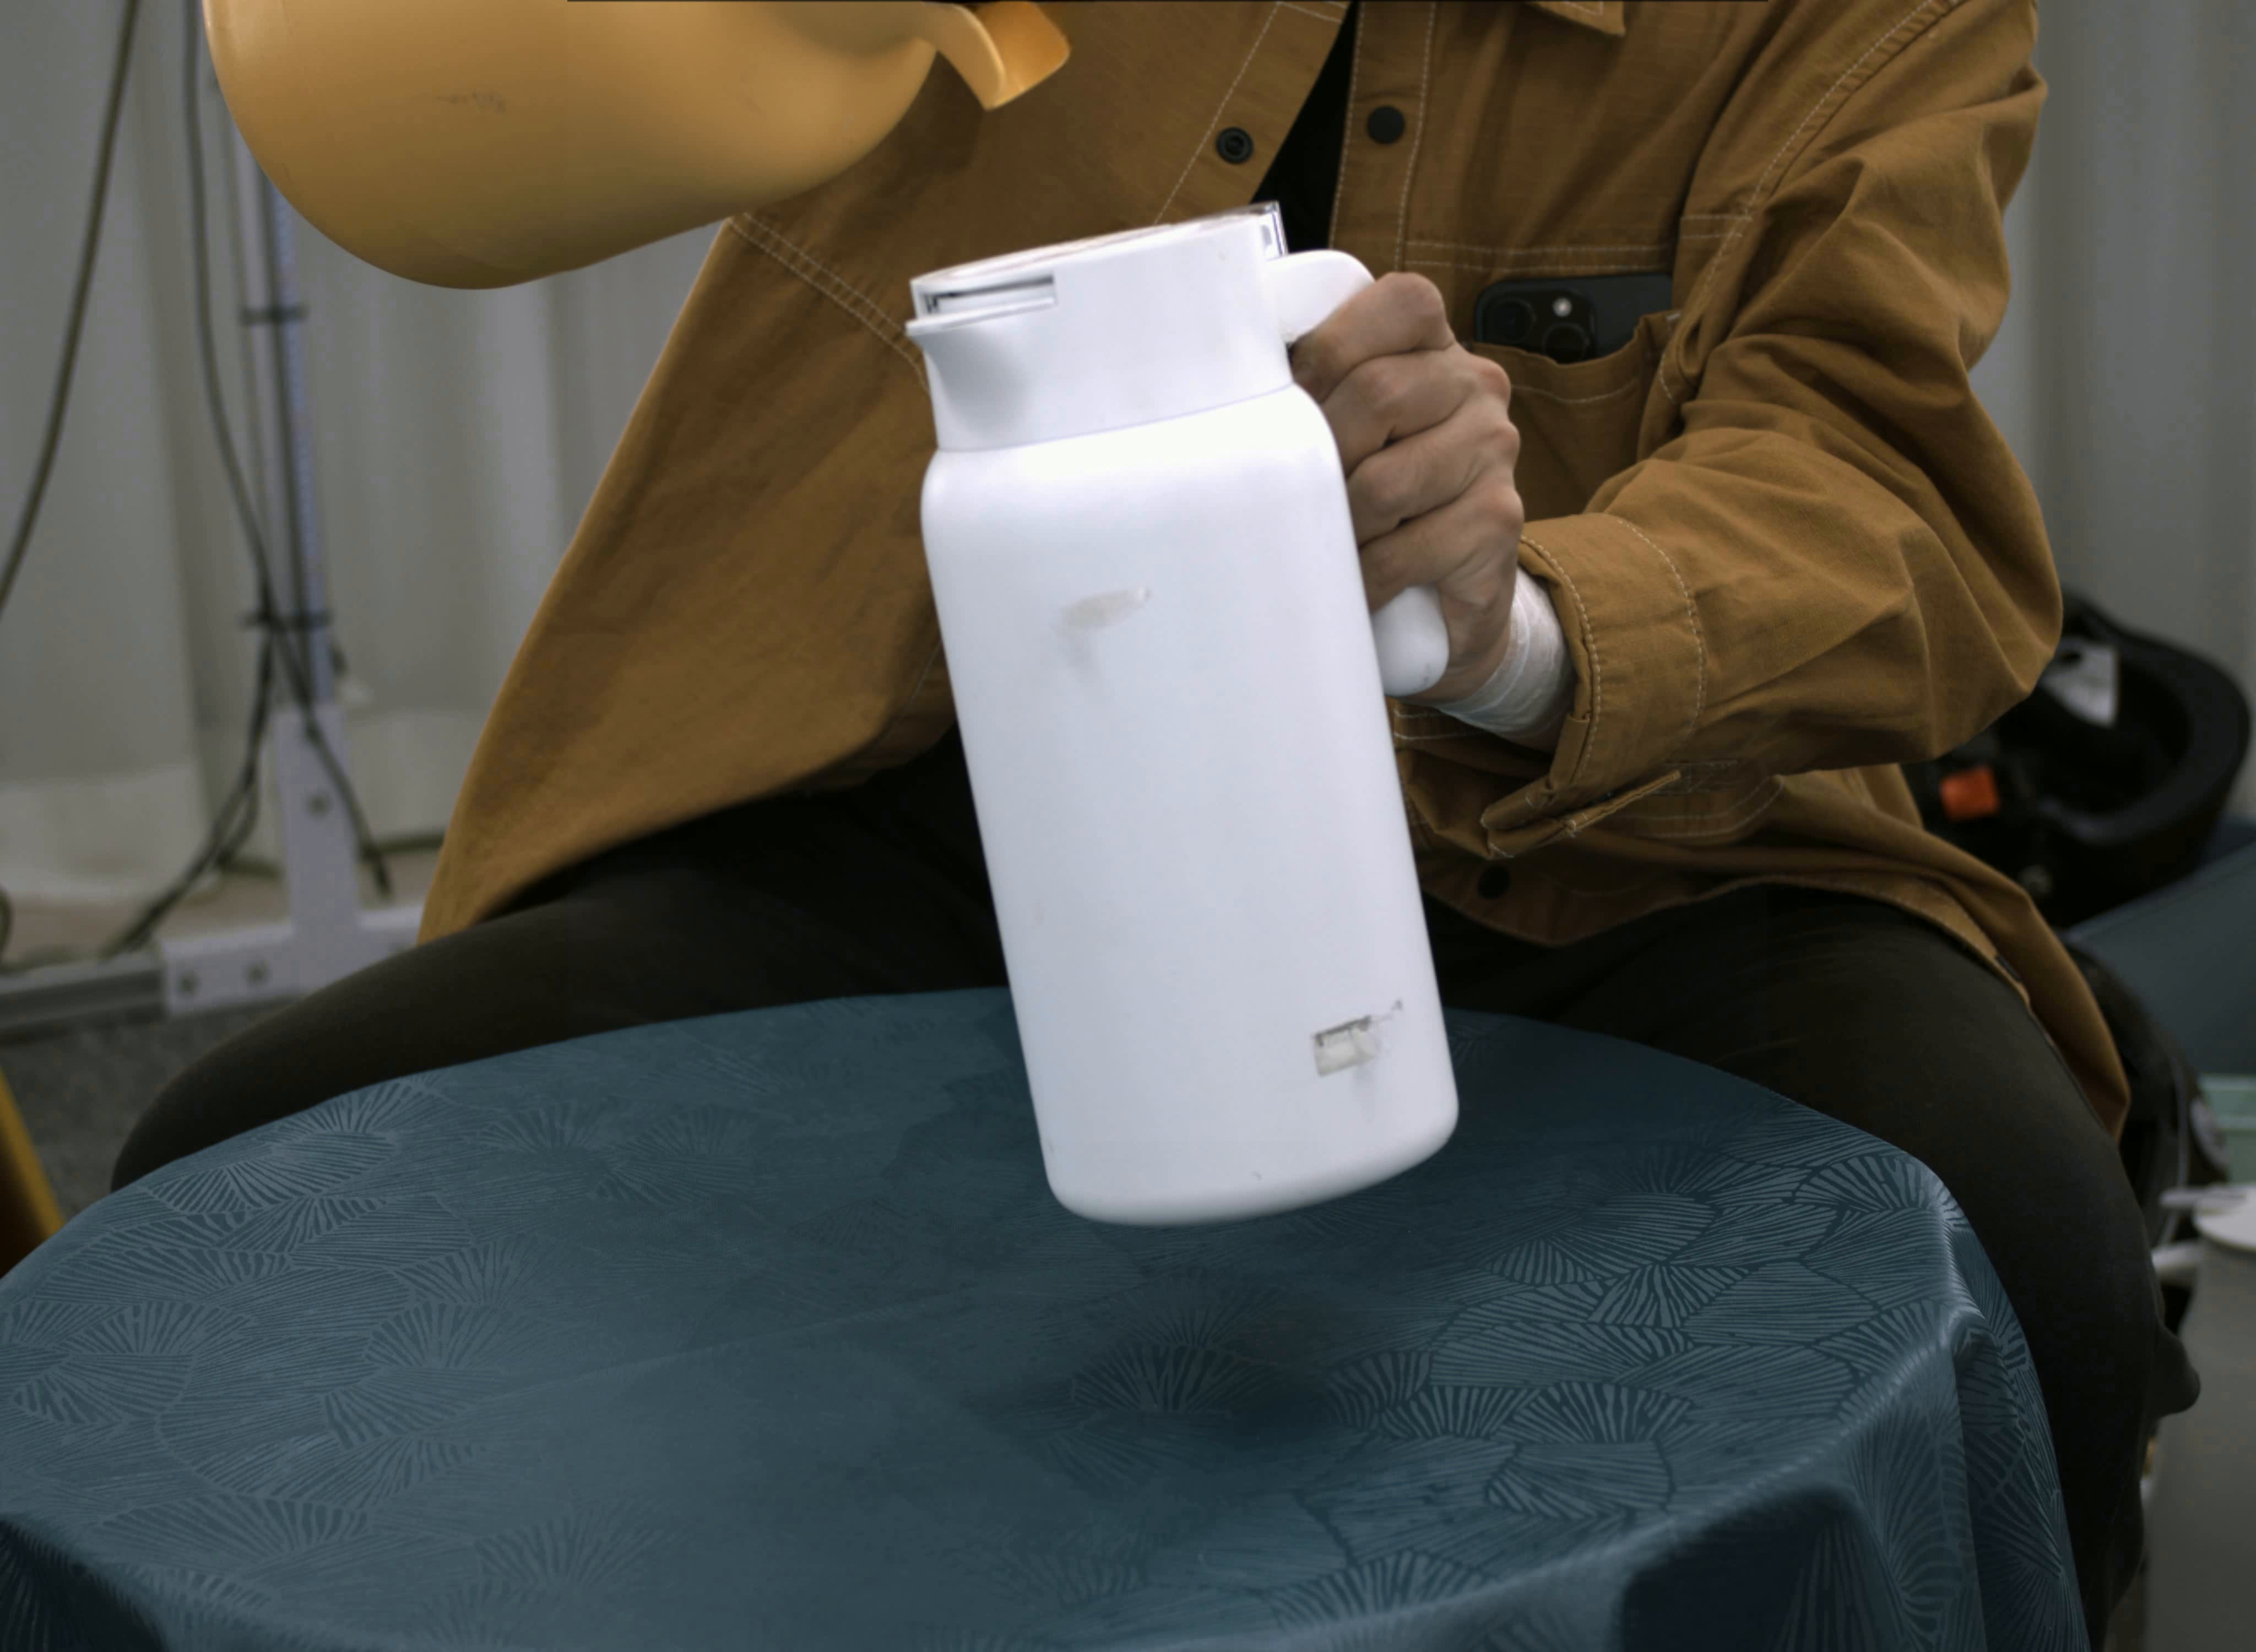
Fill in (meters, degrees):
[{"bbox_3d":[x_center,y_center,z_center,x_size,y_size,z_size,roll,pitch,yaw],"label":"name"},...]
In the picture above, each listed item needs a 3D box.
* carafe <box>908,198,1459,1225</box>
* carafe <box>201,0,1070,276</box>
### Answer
[{"bbox_3d":[0.023,-0.035,1.524,0.124,0.269,0.172,-6,8,44],"label":"carafe"},{"bbox_3d":[-0.134,-0.272,1.544,0.260,0.202,0.164,-10,11,38],"label":"carafe"}]
